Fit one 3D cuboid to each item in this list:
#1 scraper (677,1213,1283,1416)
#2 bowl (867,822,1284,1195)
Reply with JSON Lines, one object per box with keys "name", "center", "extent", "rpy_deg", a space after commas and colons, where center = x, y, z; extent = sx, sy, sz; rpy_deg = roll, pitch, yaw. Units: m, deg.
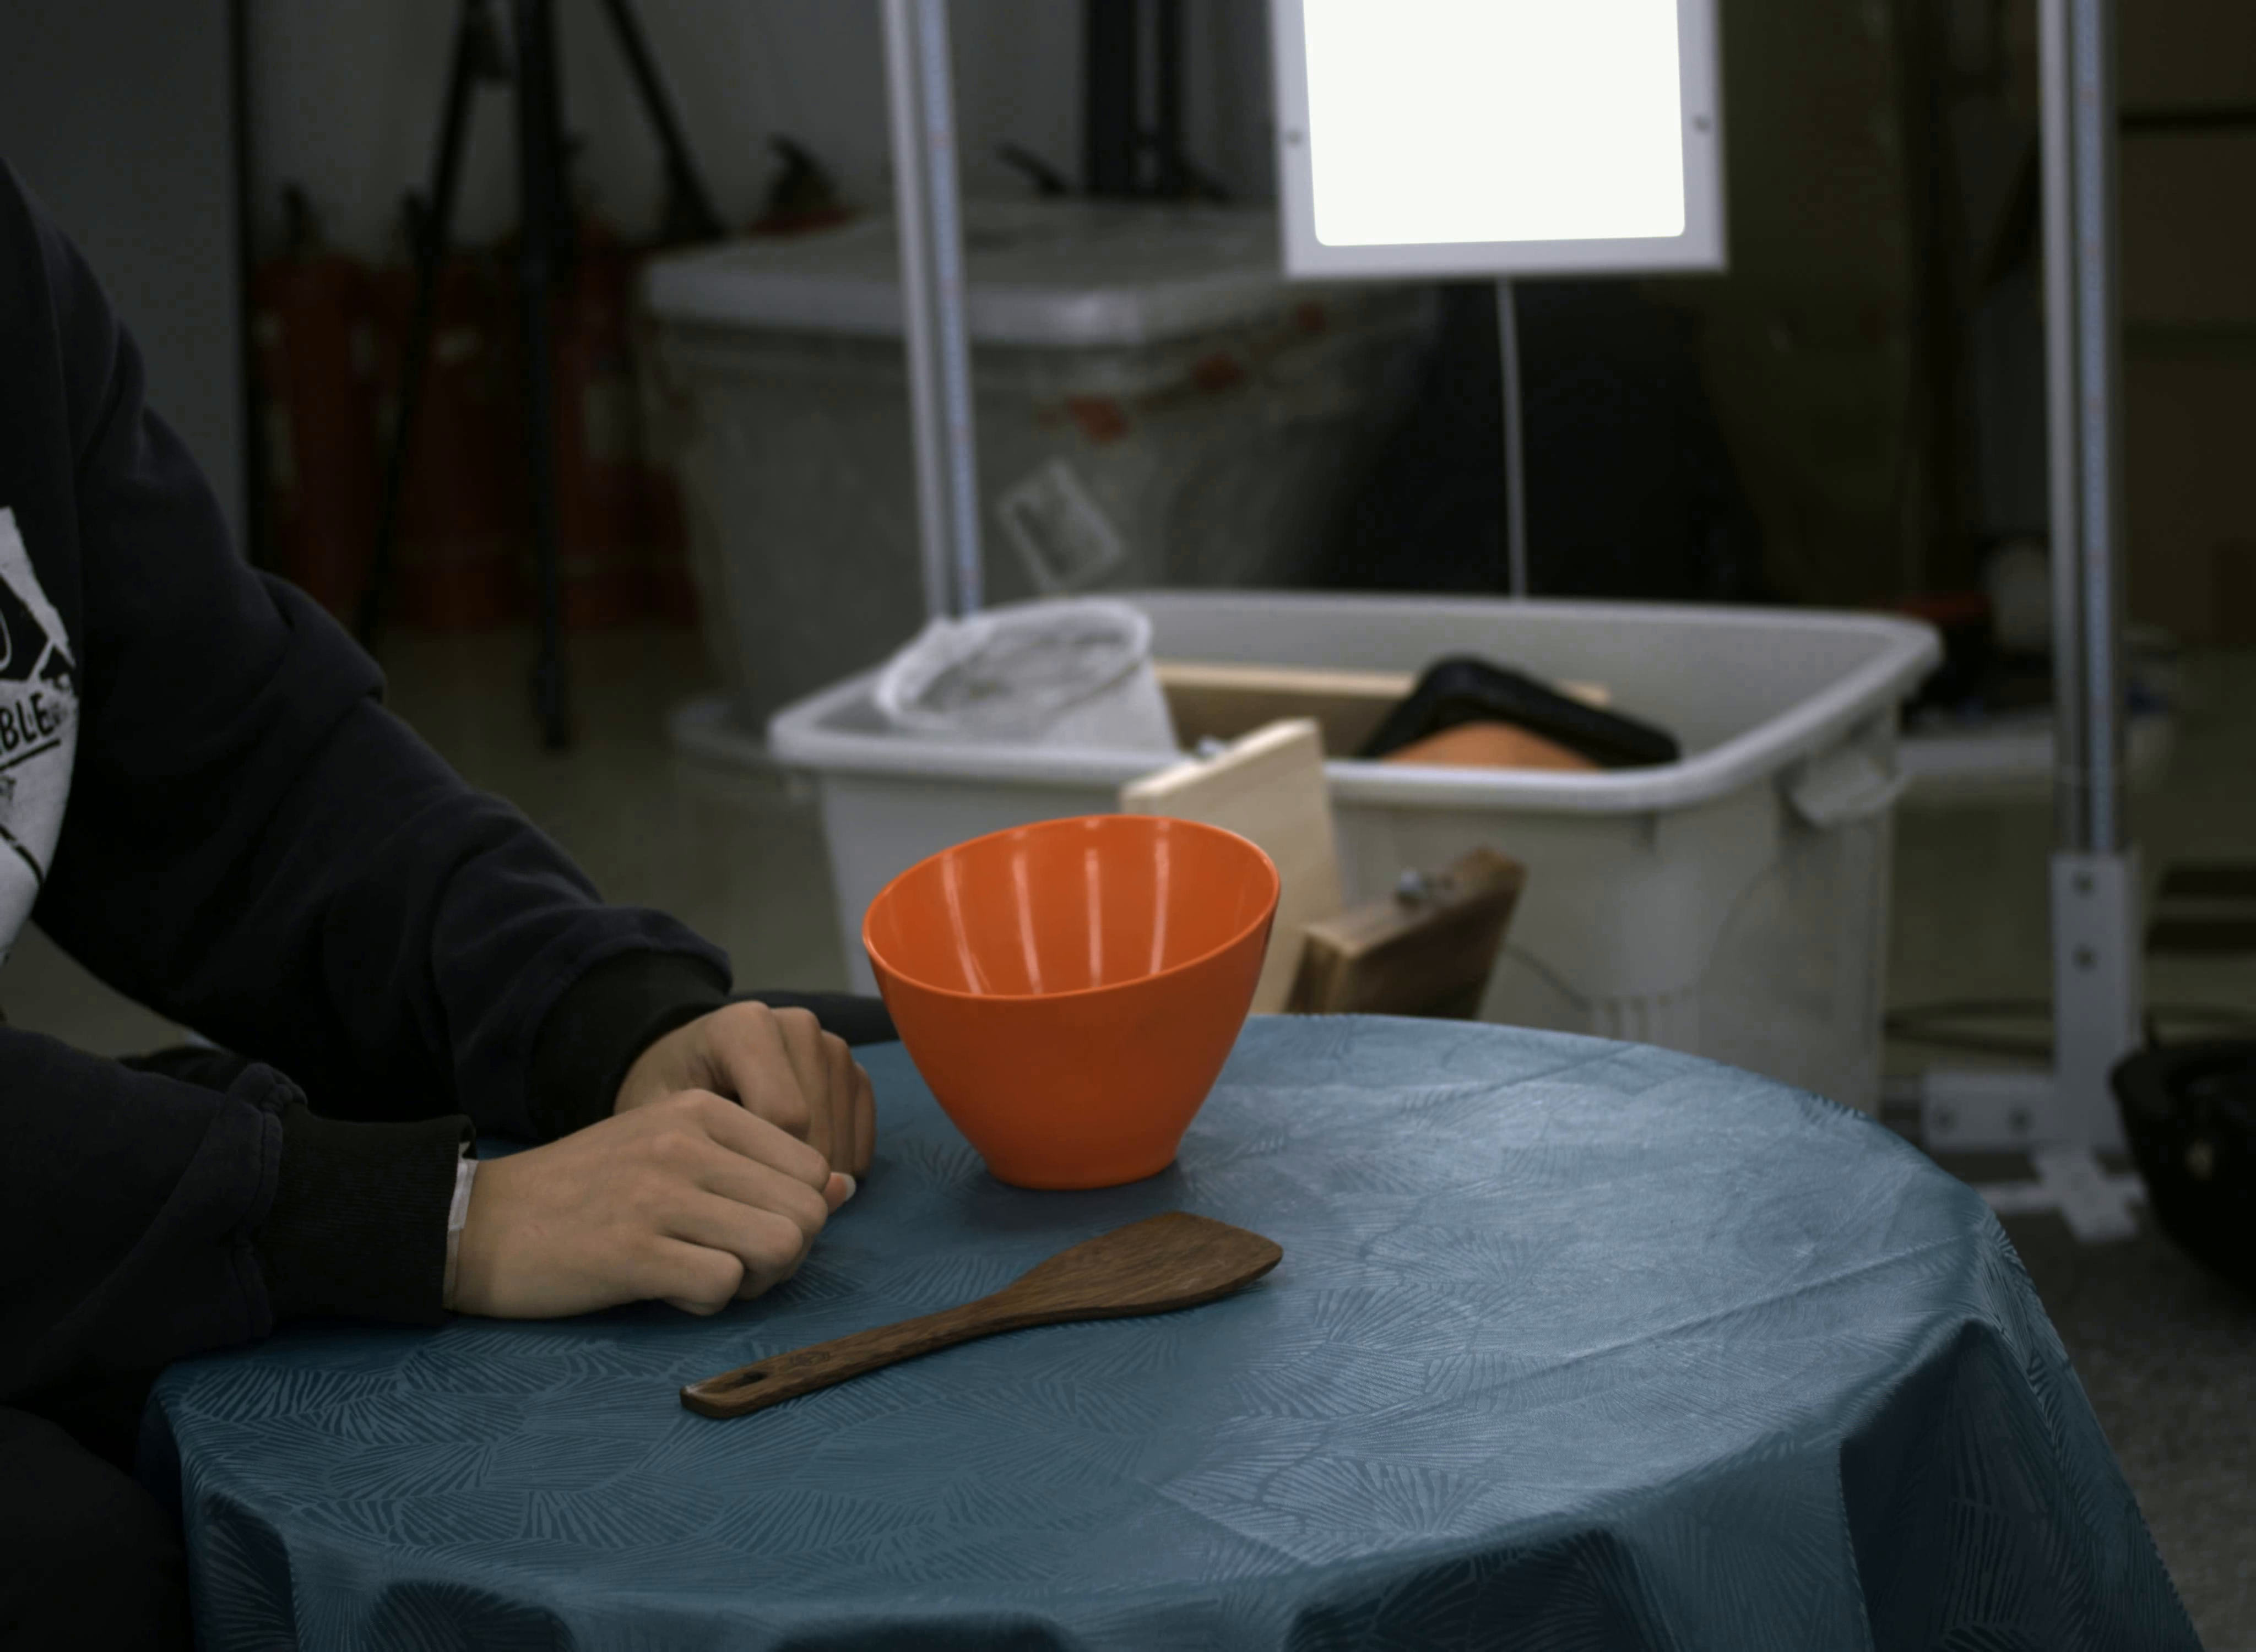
{"name": "scraper", "center": [-0.050, 0.159, 1.768], "extent": [0.206, 0.011, 0.077], "rpy_deg": [-14, 15, -30]}
{"name": "bowl", "center": [-0.016, 0.067, 1.933], "extent": [0.147, 0.105, 0.148], "rpy_deg": [-4, 14, 0]}
